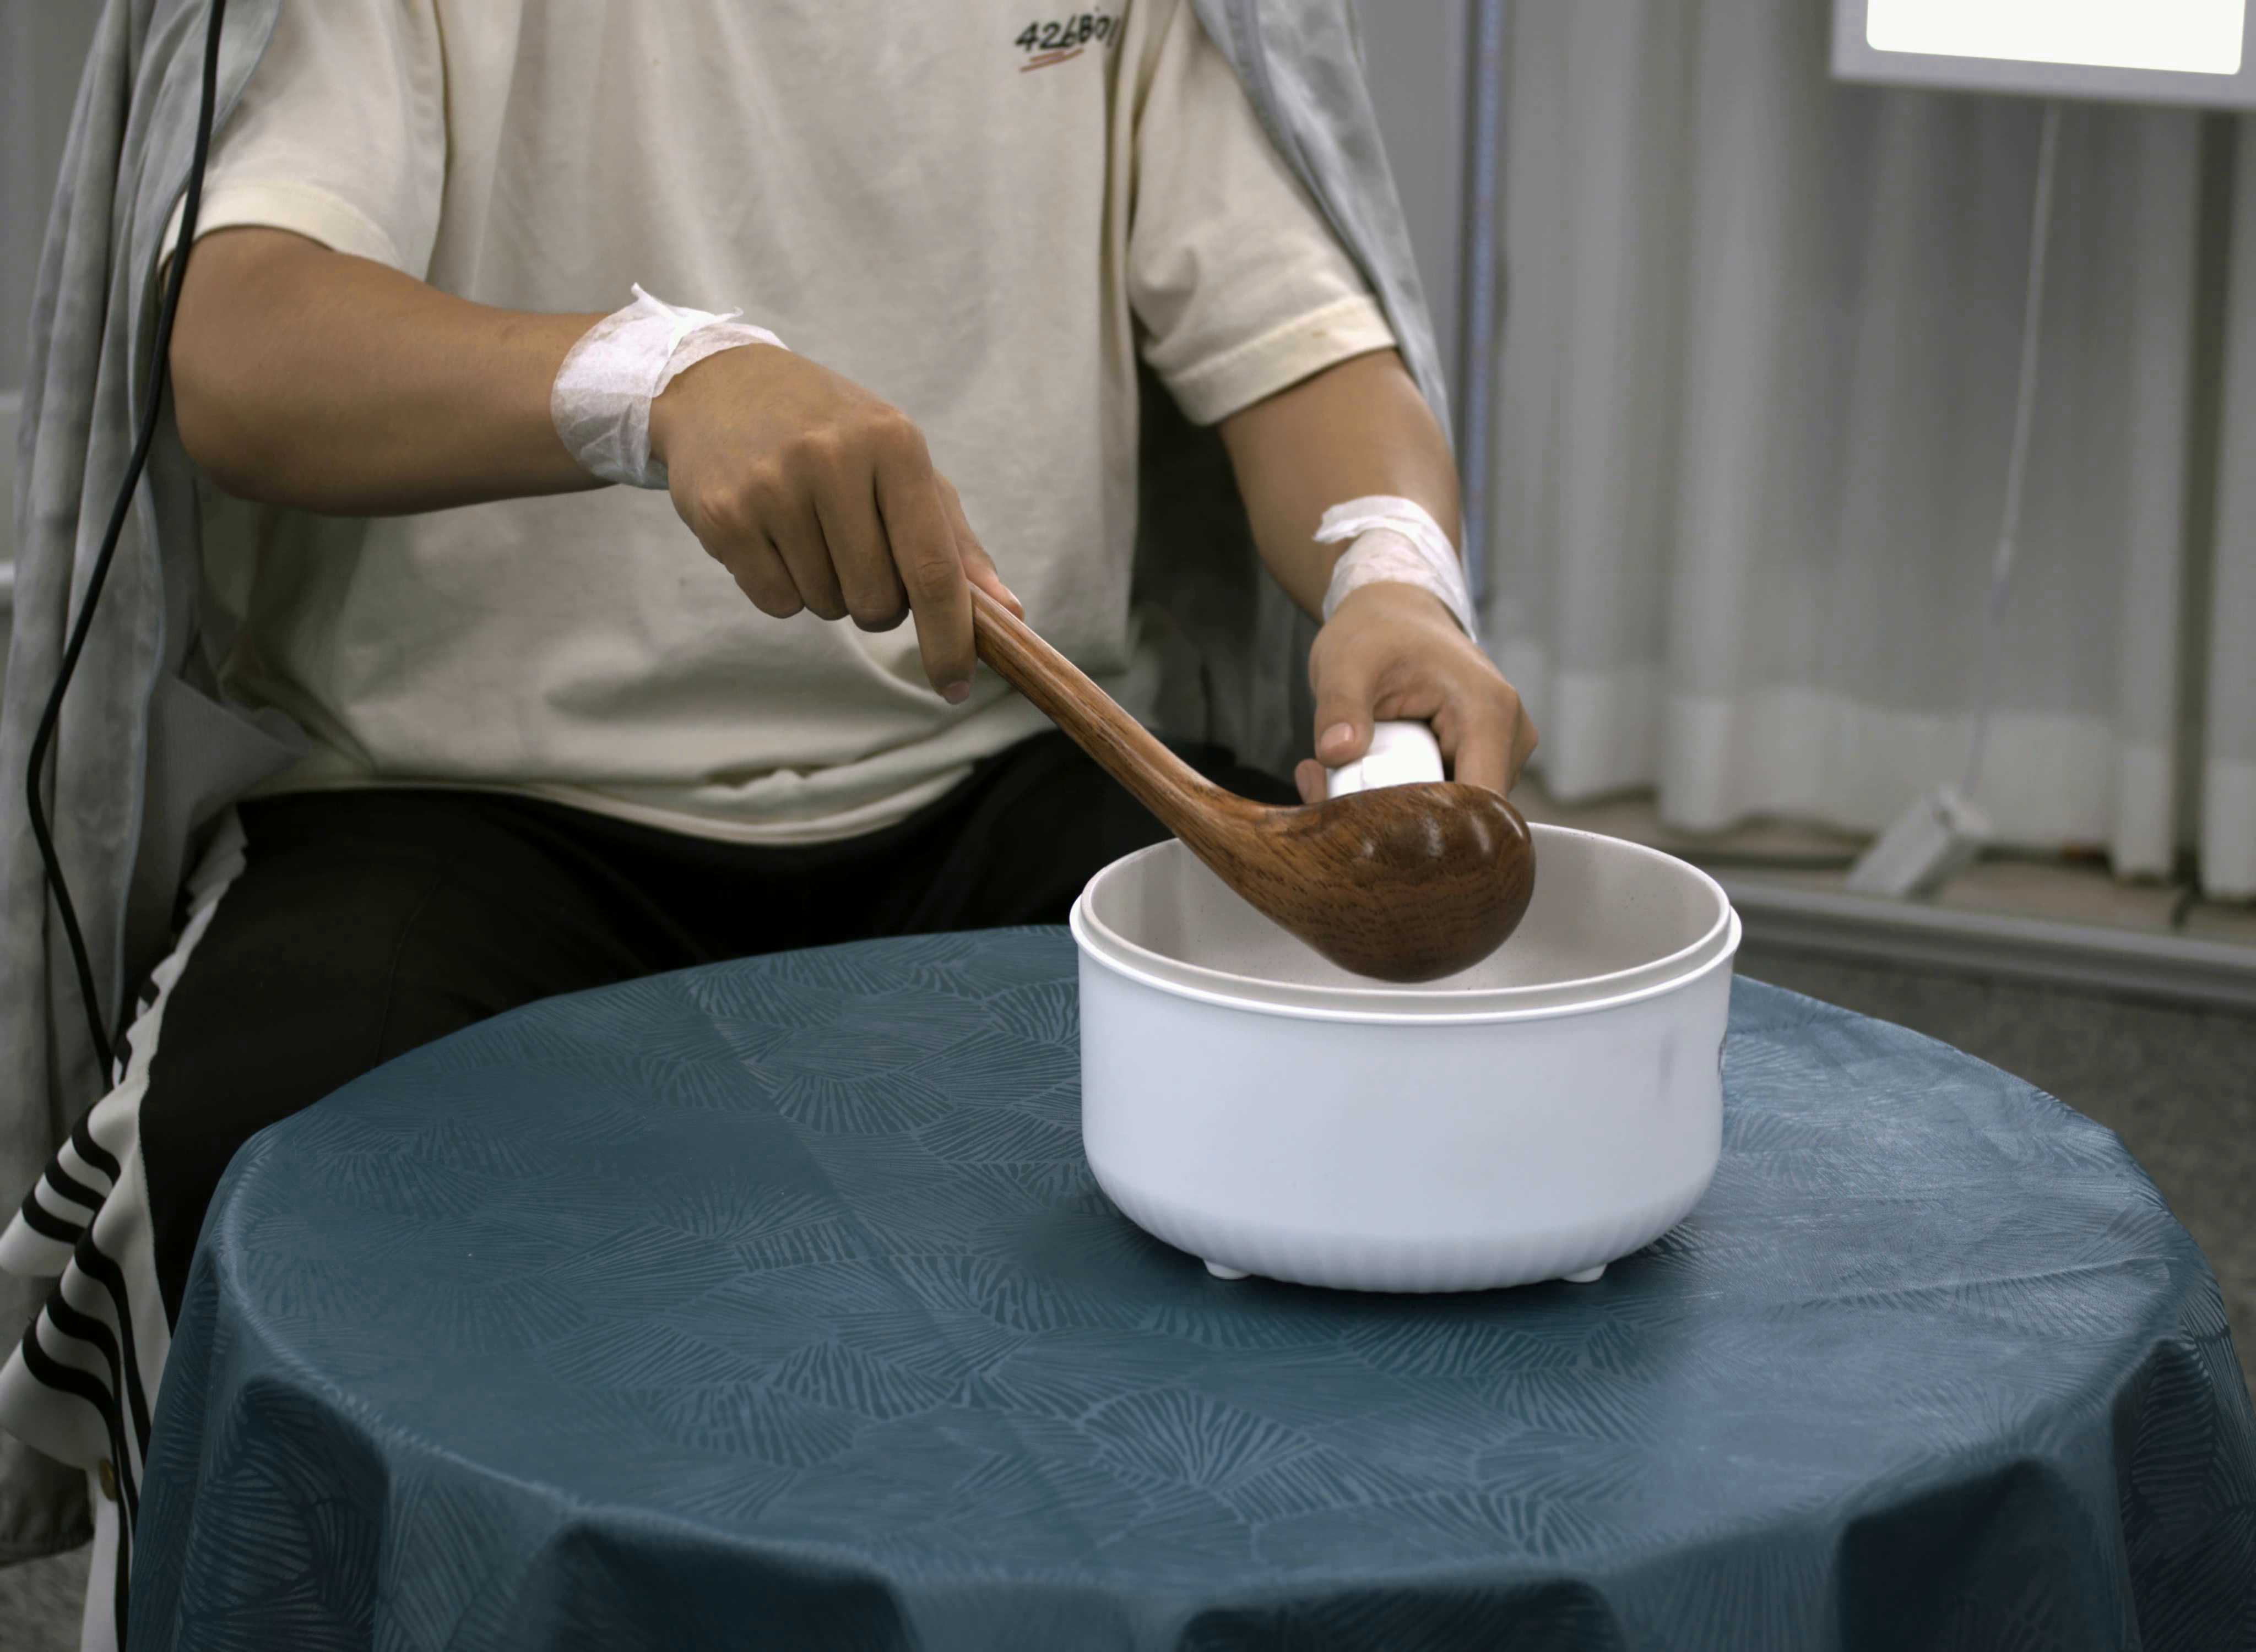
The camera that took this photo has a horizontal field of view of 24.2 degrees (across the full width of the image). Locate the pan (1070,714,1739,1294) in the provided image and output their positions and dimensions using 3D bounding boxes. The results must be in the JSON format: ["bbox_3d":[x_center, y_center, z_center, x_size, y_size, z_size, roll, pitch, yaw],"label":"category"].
[{"bbox_3d":[0.085,0.051,1.666,0.200,0.103,0.353,0,15,1],"label":"pan"}]

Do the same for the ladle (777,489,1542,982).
[{"bbox_3d":[0.011,-0.042,1.654,0.271,0.082,0.077,37,43,25],"label":"ladle"}]
